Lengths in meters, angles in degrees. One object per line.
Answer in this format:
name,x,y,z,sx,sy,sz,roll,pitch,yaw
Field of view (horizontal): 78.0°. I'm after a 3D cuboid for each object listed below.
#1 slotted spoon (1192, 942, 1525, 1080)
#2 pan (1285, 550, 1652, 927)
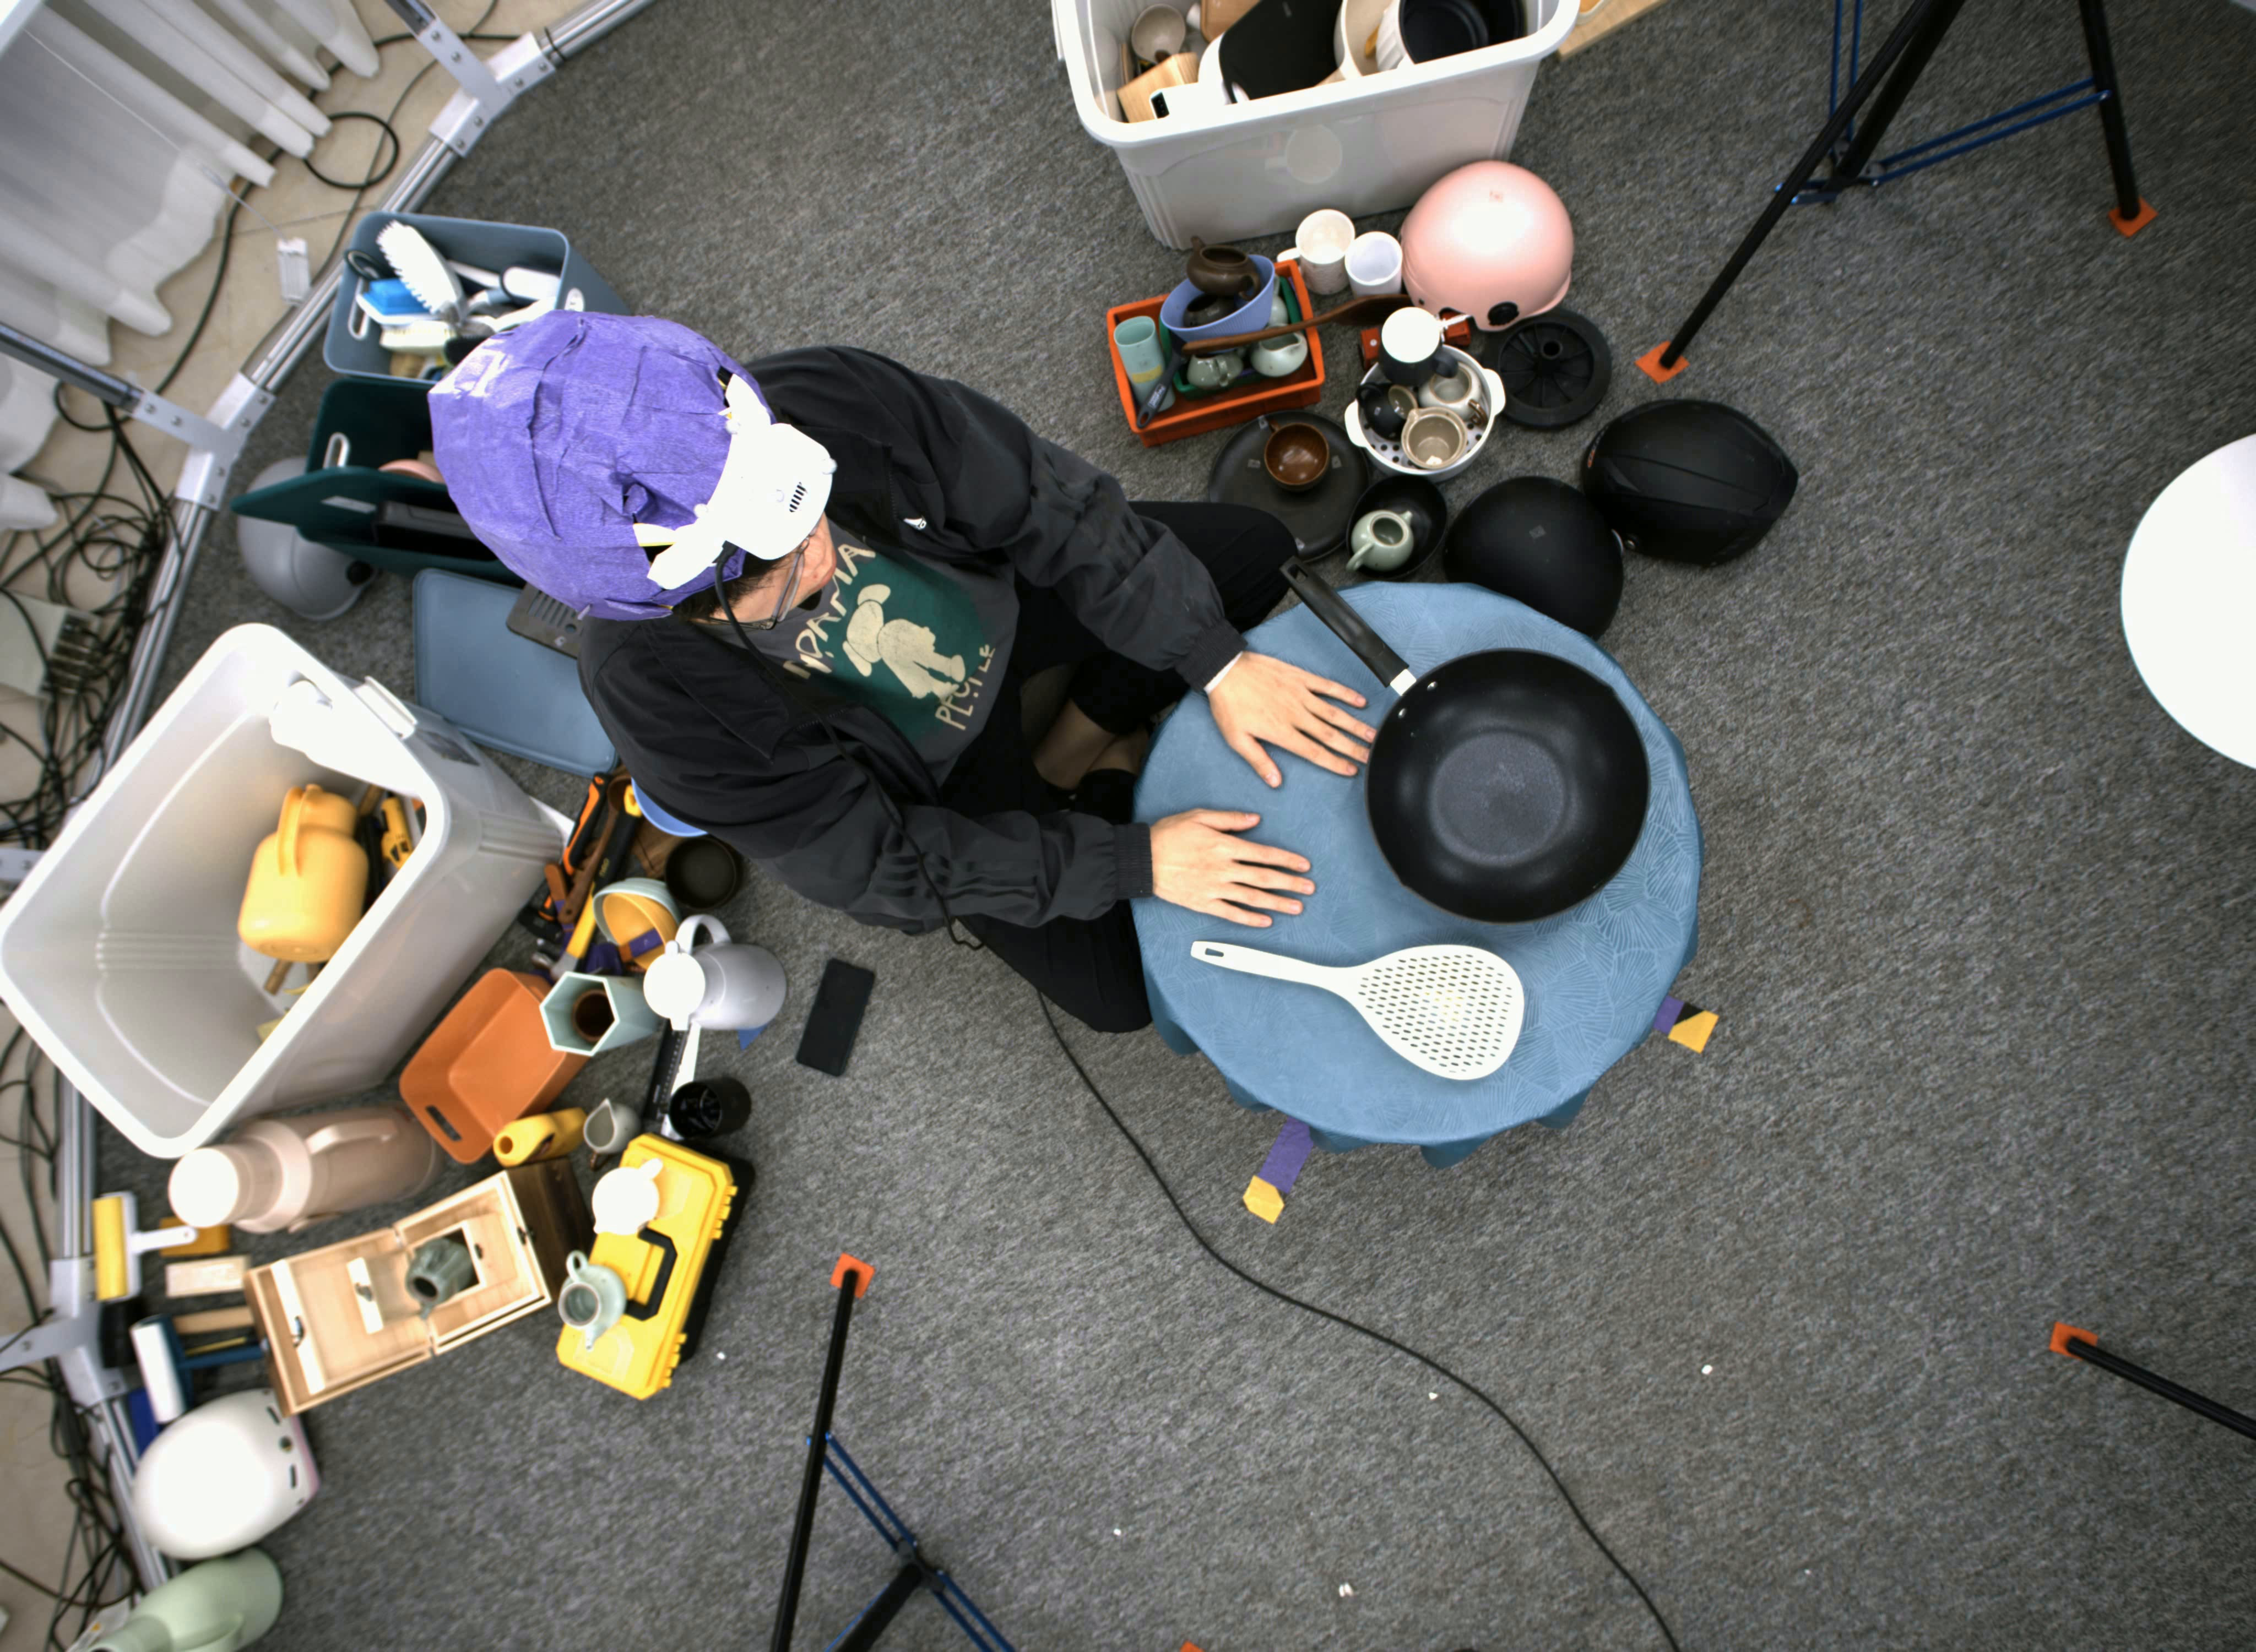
slotted spoon,0.234,0.163,1.440,0.348,0.050,0.137,13,92,11
pan,0.322,-0.104,1.416,0.289,0.087,0.461,-43,79,5
